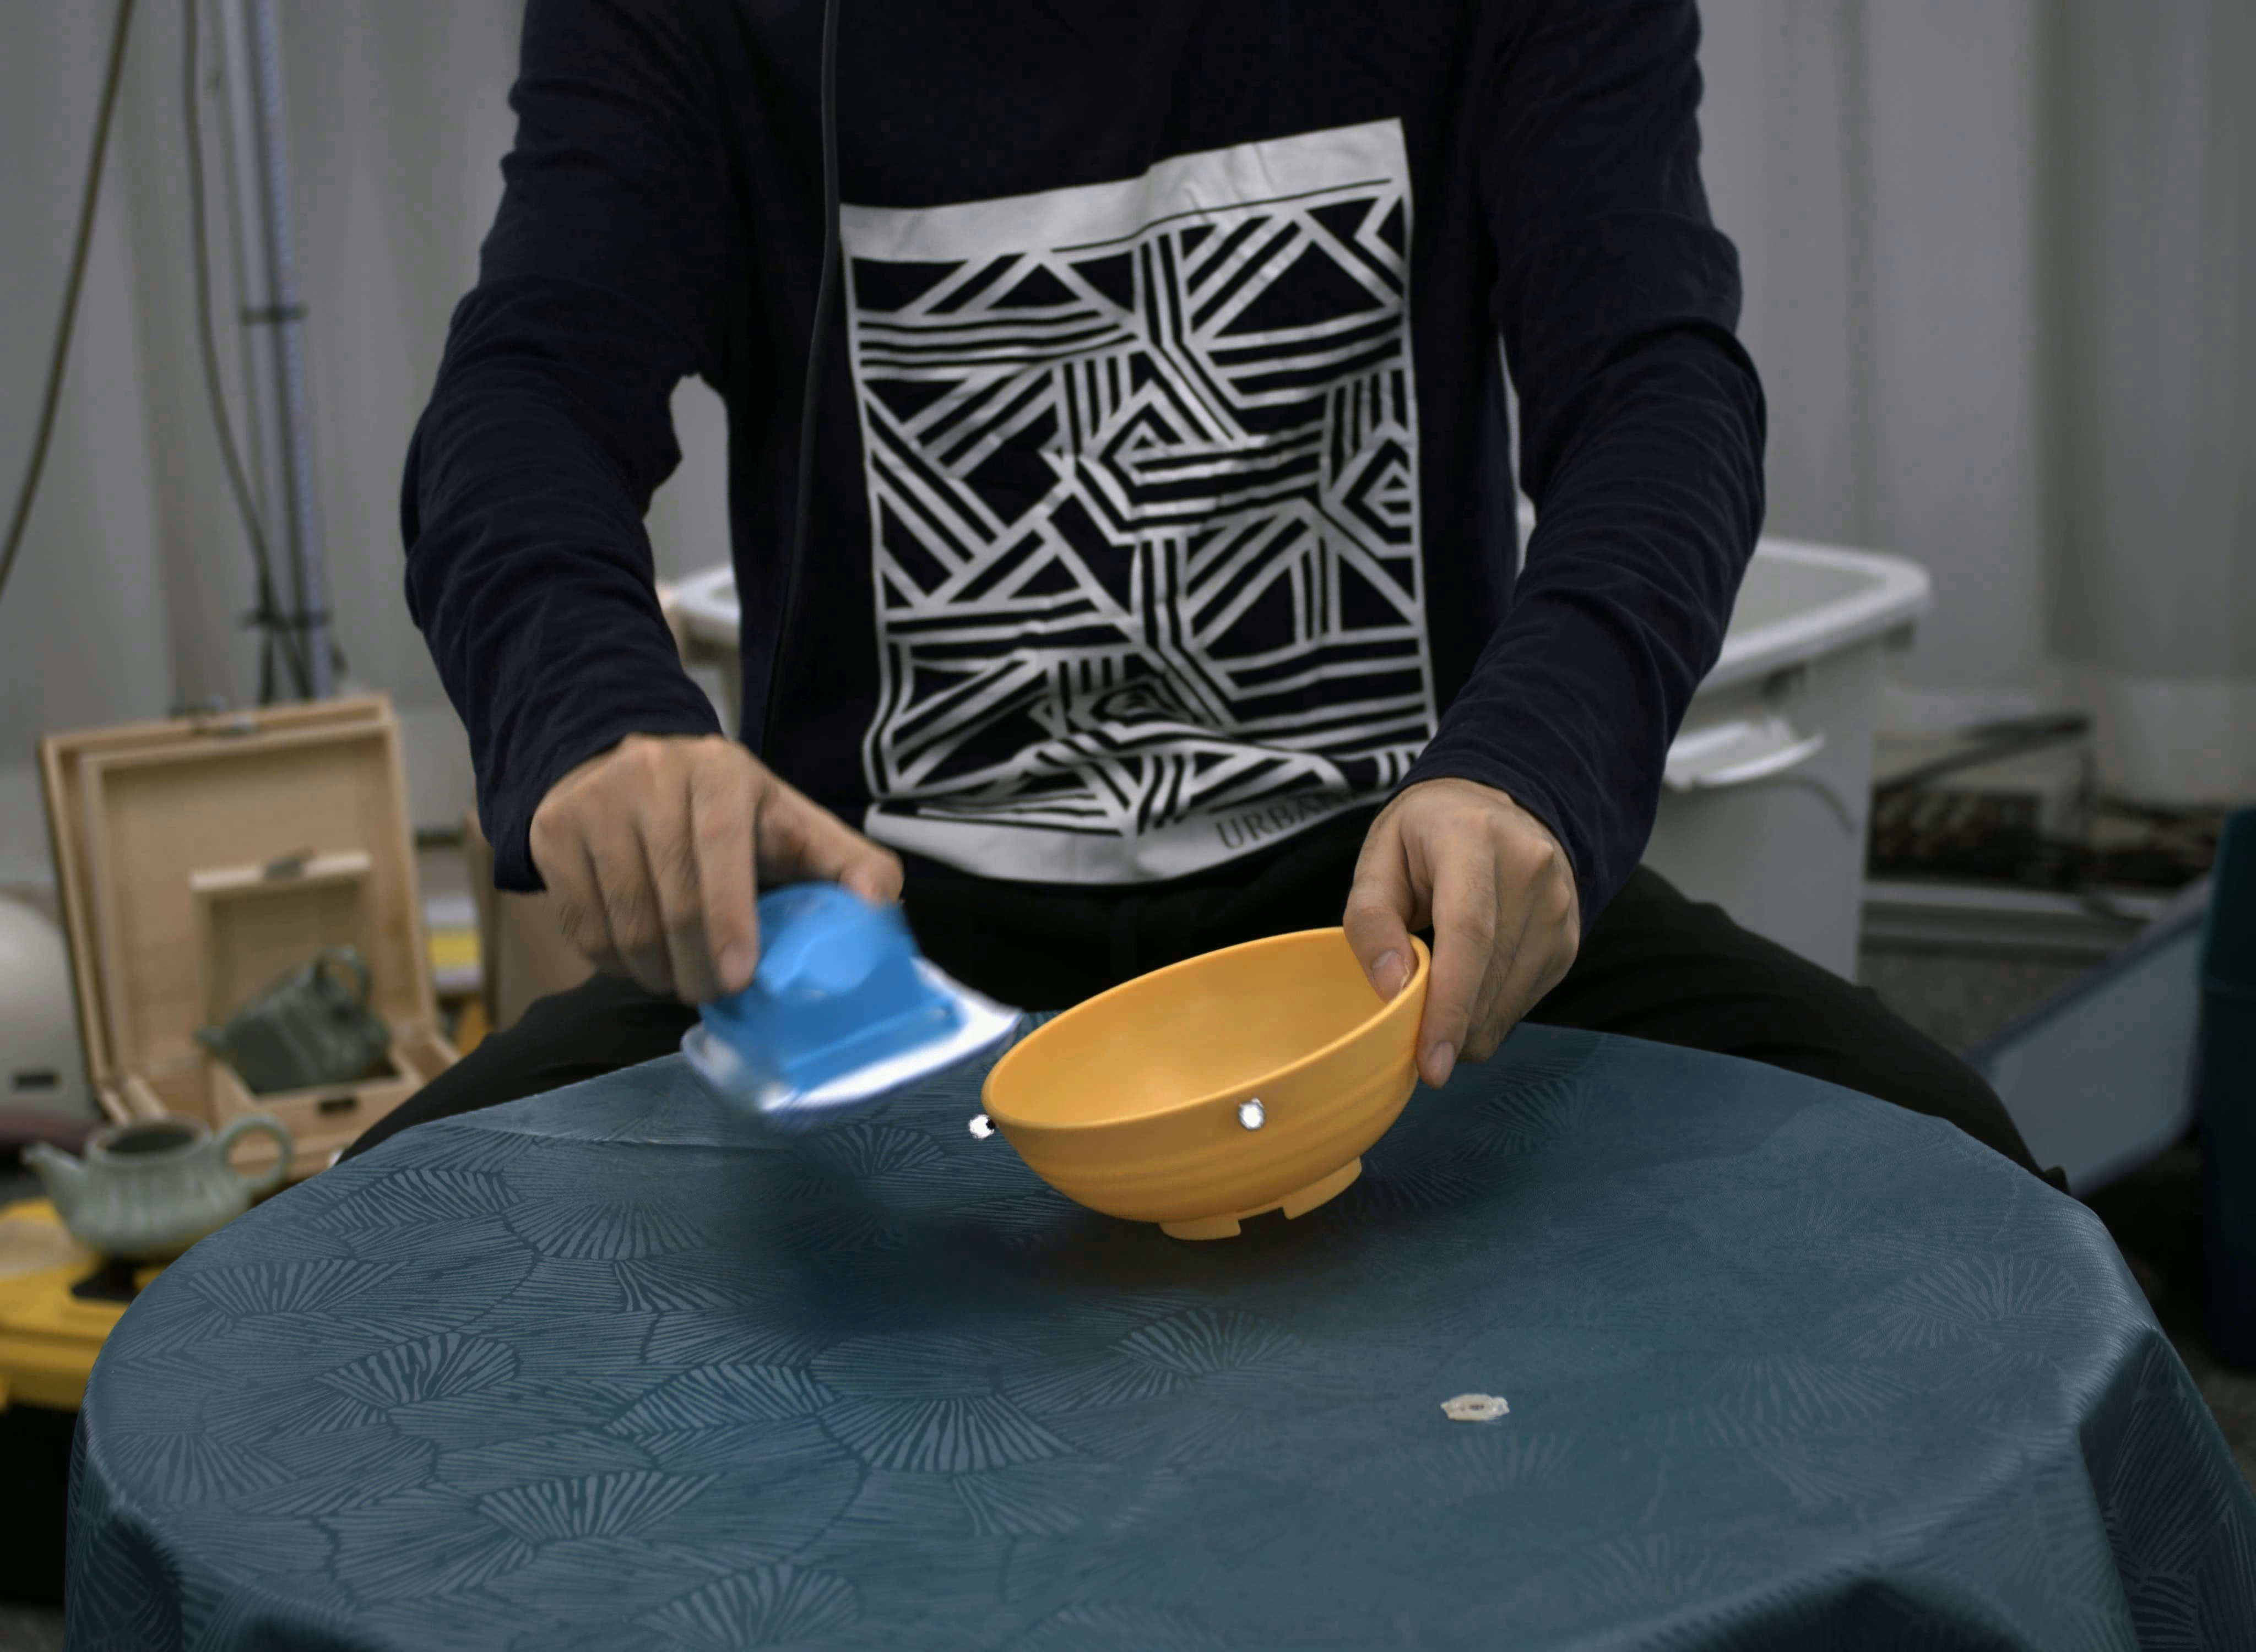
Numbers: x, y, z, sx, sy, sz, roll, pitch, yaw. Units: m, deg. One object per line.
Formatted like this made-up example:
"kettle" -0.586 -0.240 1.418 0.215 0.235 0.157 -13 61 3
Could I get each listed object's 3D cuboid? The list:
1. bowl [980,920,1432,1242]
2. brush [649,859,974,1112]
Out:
"bowl" 0.030 0.086 1.674 0.145 0.060 0.146 -15 18 4
"brush" -0.099 0.046 1.648 0.083 0.055 0.145 -17 15 -11
